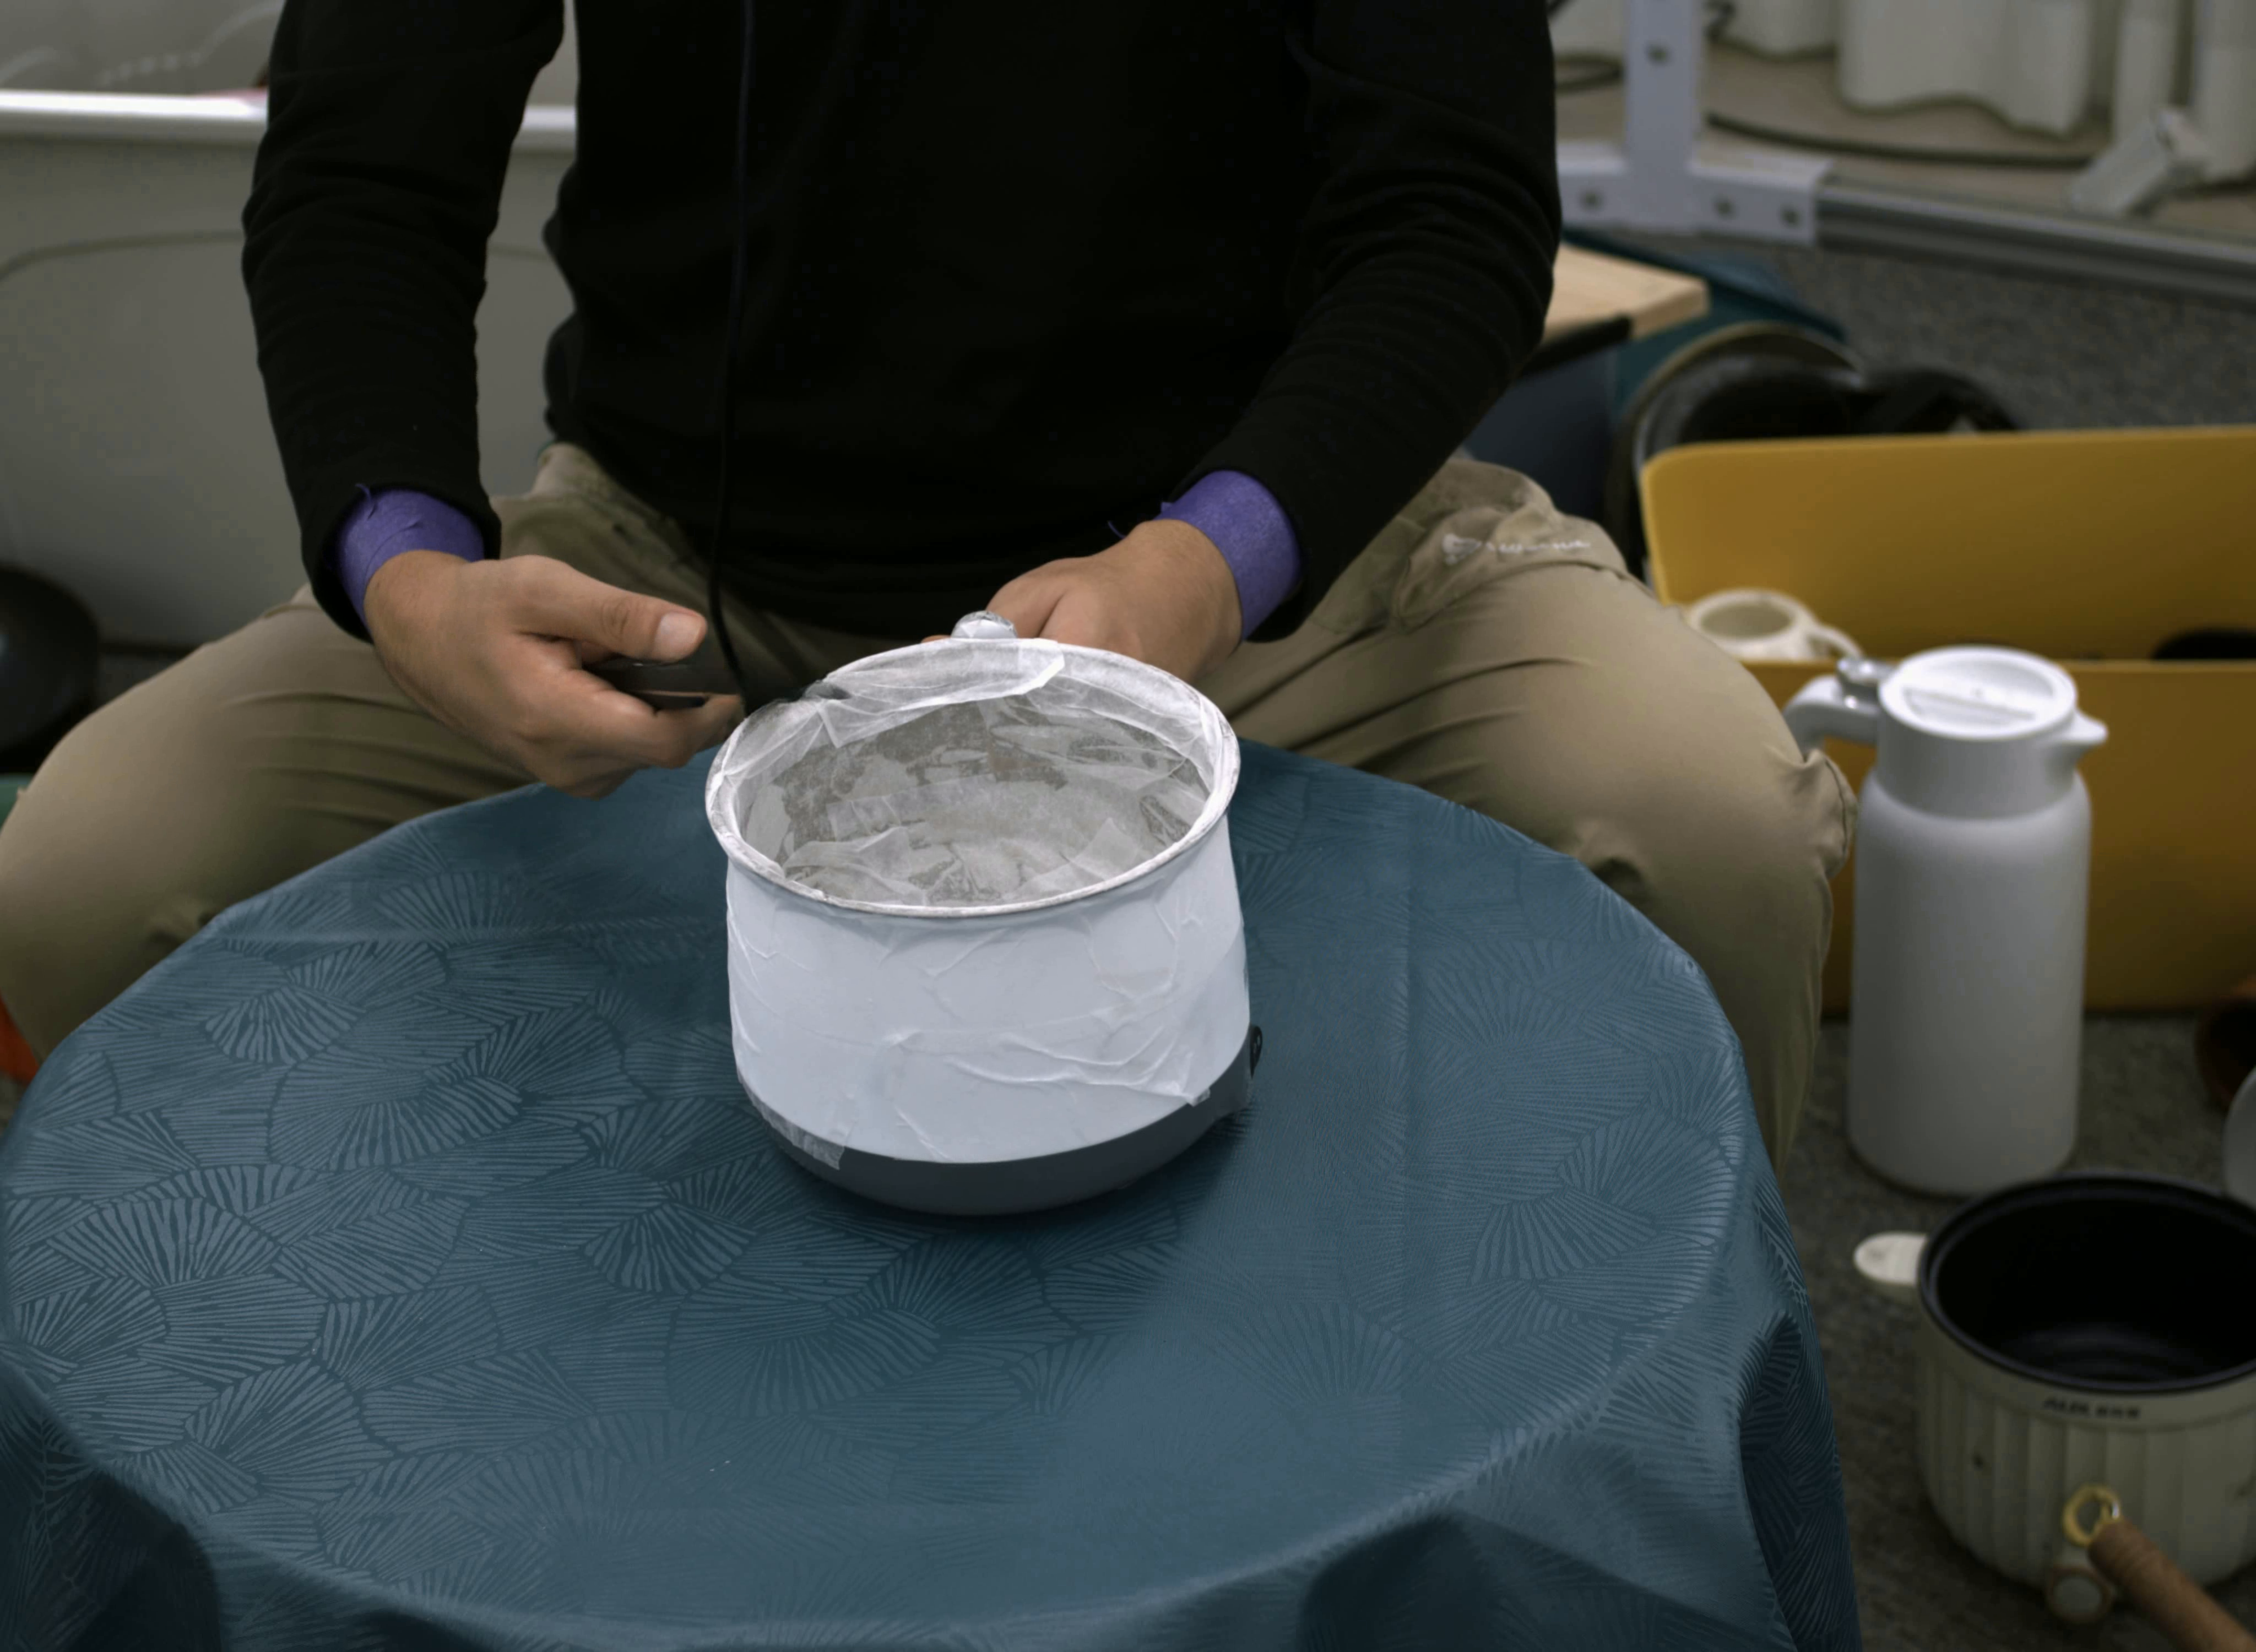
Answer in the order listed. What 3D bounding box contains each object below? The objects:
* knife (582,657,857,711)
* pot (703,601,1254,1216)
[{"bbox_3d":[-0.141,-0.047,1.922,0.024,0.016,0.237,-18,10,-24],"label":"knife"},{"bbox_3d":[-0.048,0.020,1.899,0.178,0.135,0.237,-2,31,0],"label":"pot"}]
